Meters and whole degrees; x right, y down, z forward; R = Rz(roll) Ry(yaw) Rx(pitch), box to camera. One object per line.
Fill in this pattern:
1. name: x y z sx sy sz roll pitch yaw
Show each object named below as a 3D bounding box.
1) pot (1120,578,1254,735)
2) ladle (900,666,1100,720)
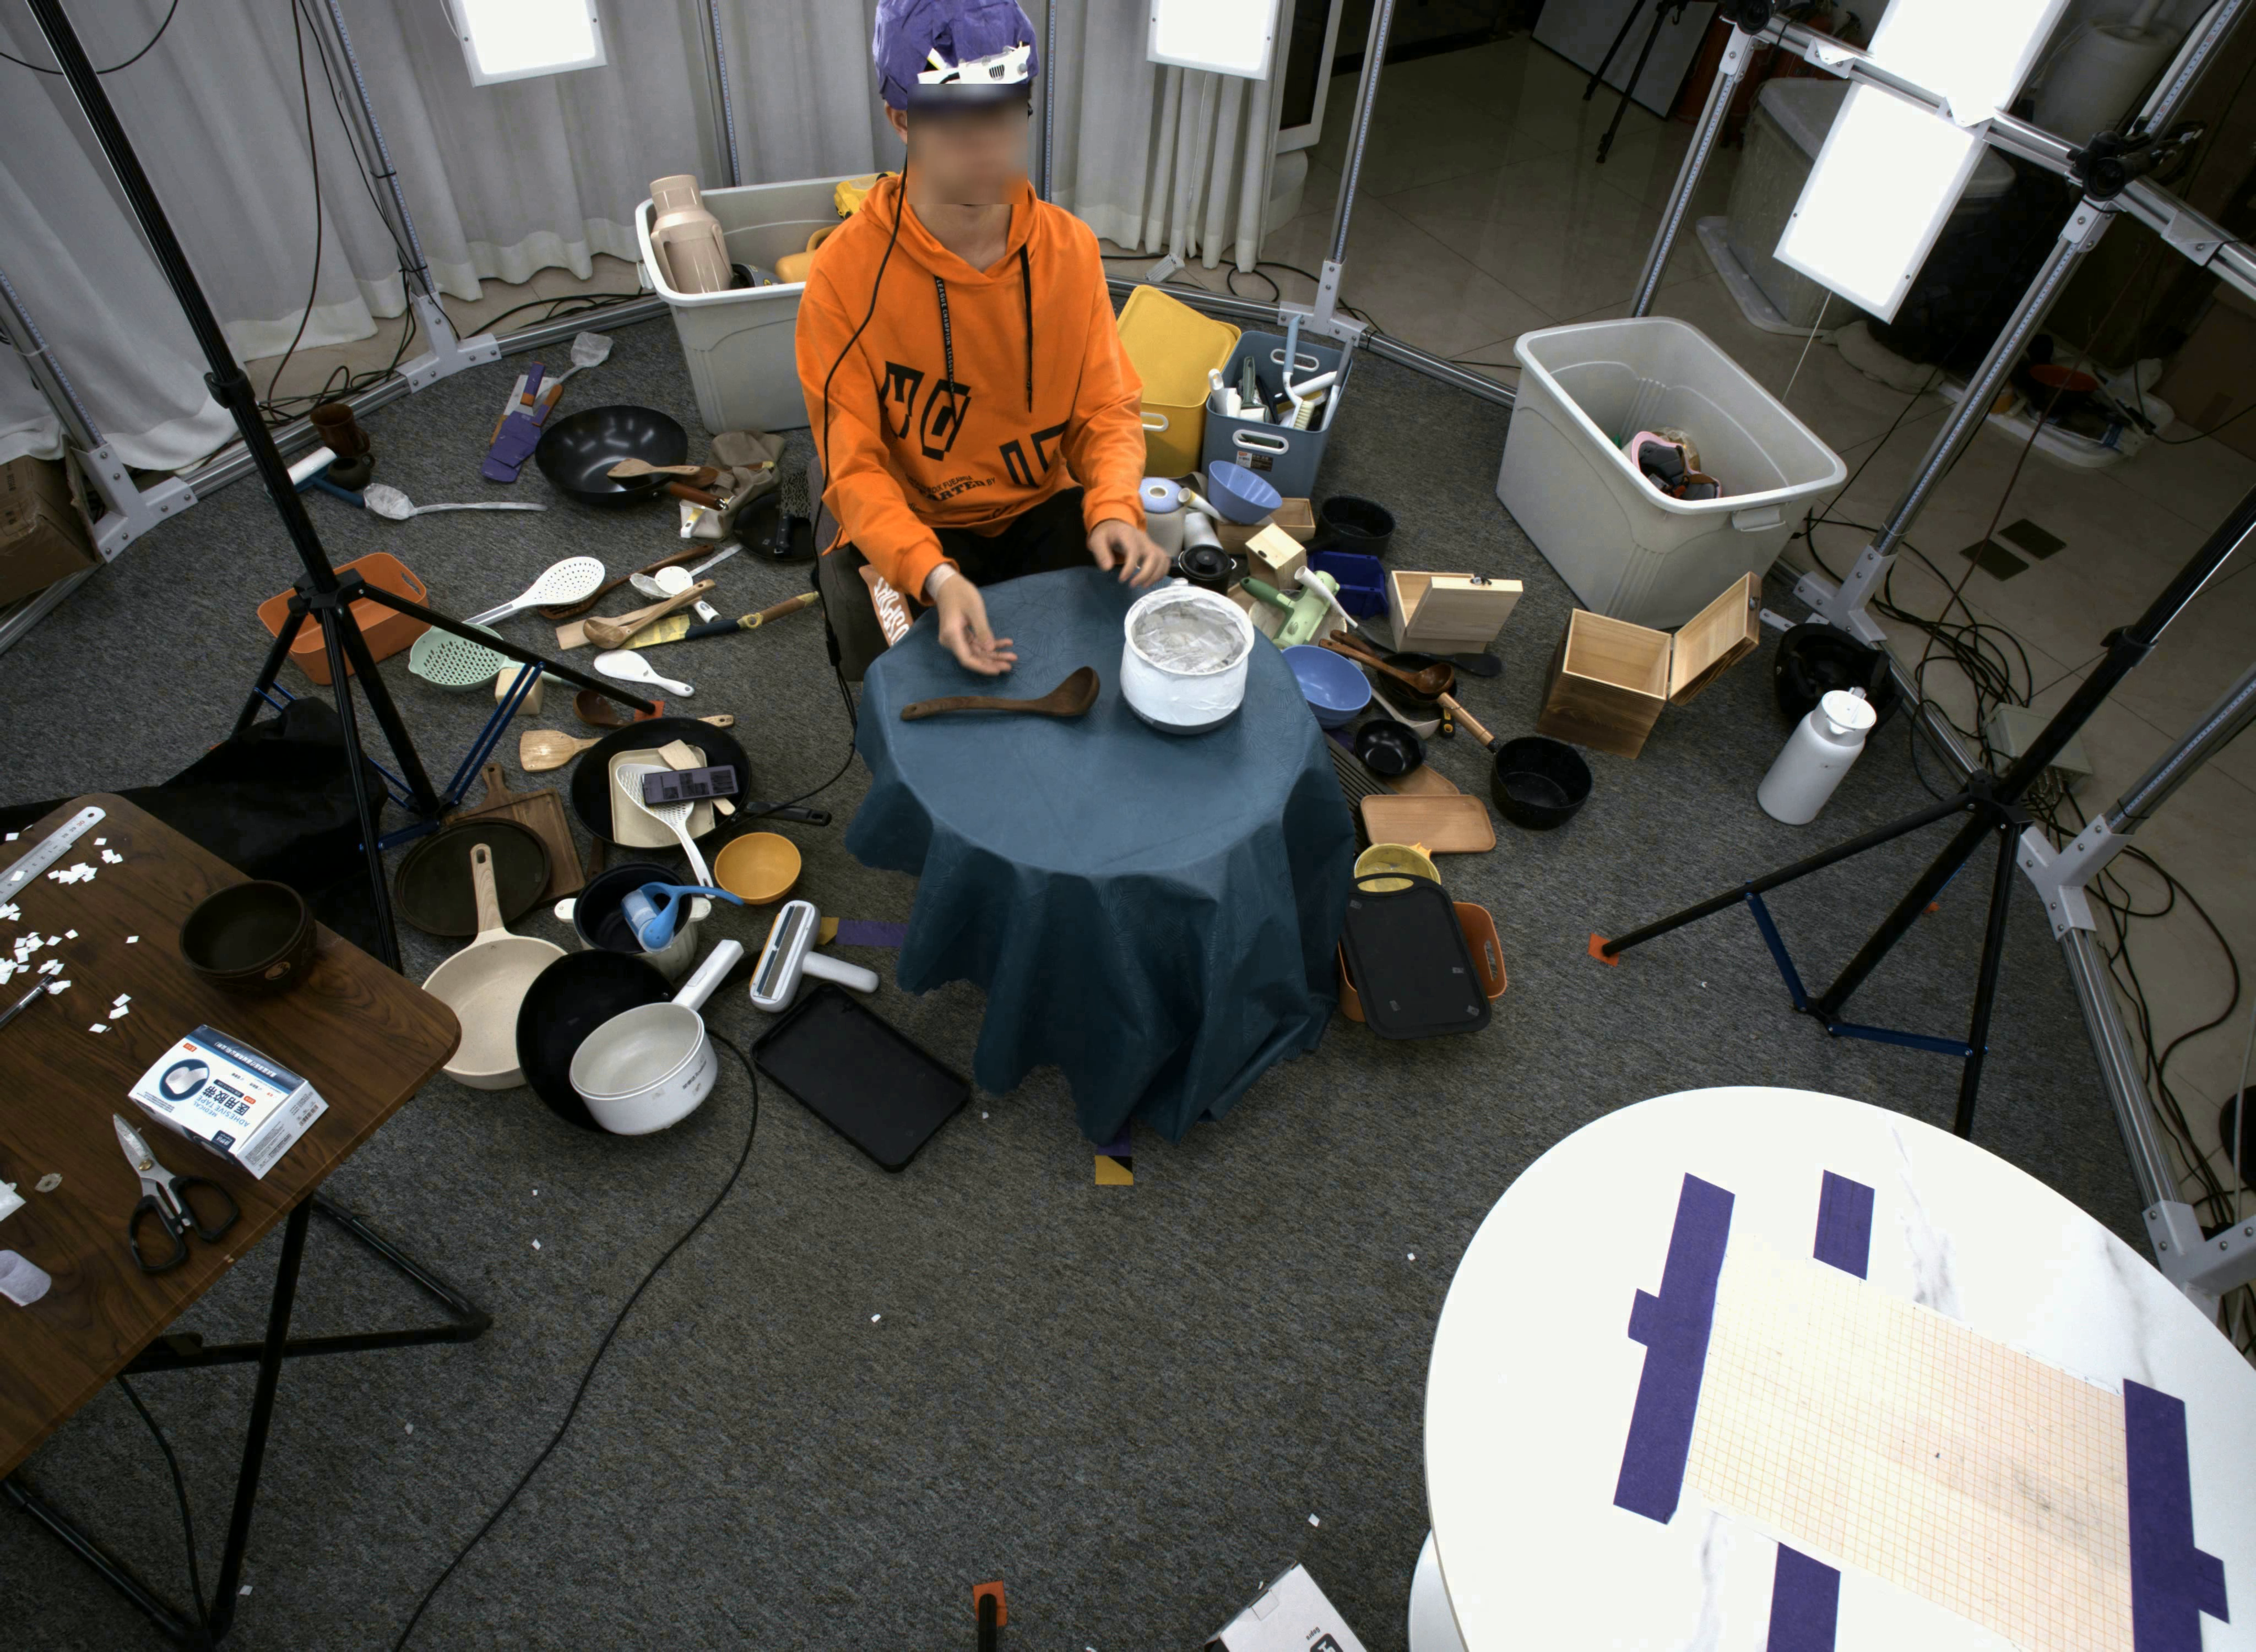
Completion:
1. pot: 0.076 -0.248 1.800 0.178 0.133 0.239 -2 50 -7
2. ladle: -0.176 -0.182 1.769 0.274 0.069 0.078 -2 41 -6
